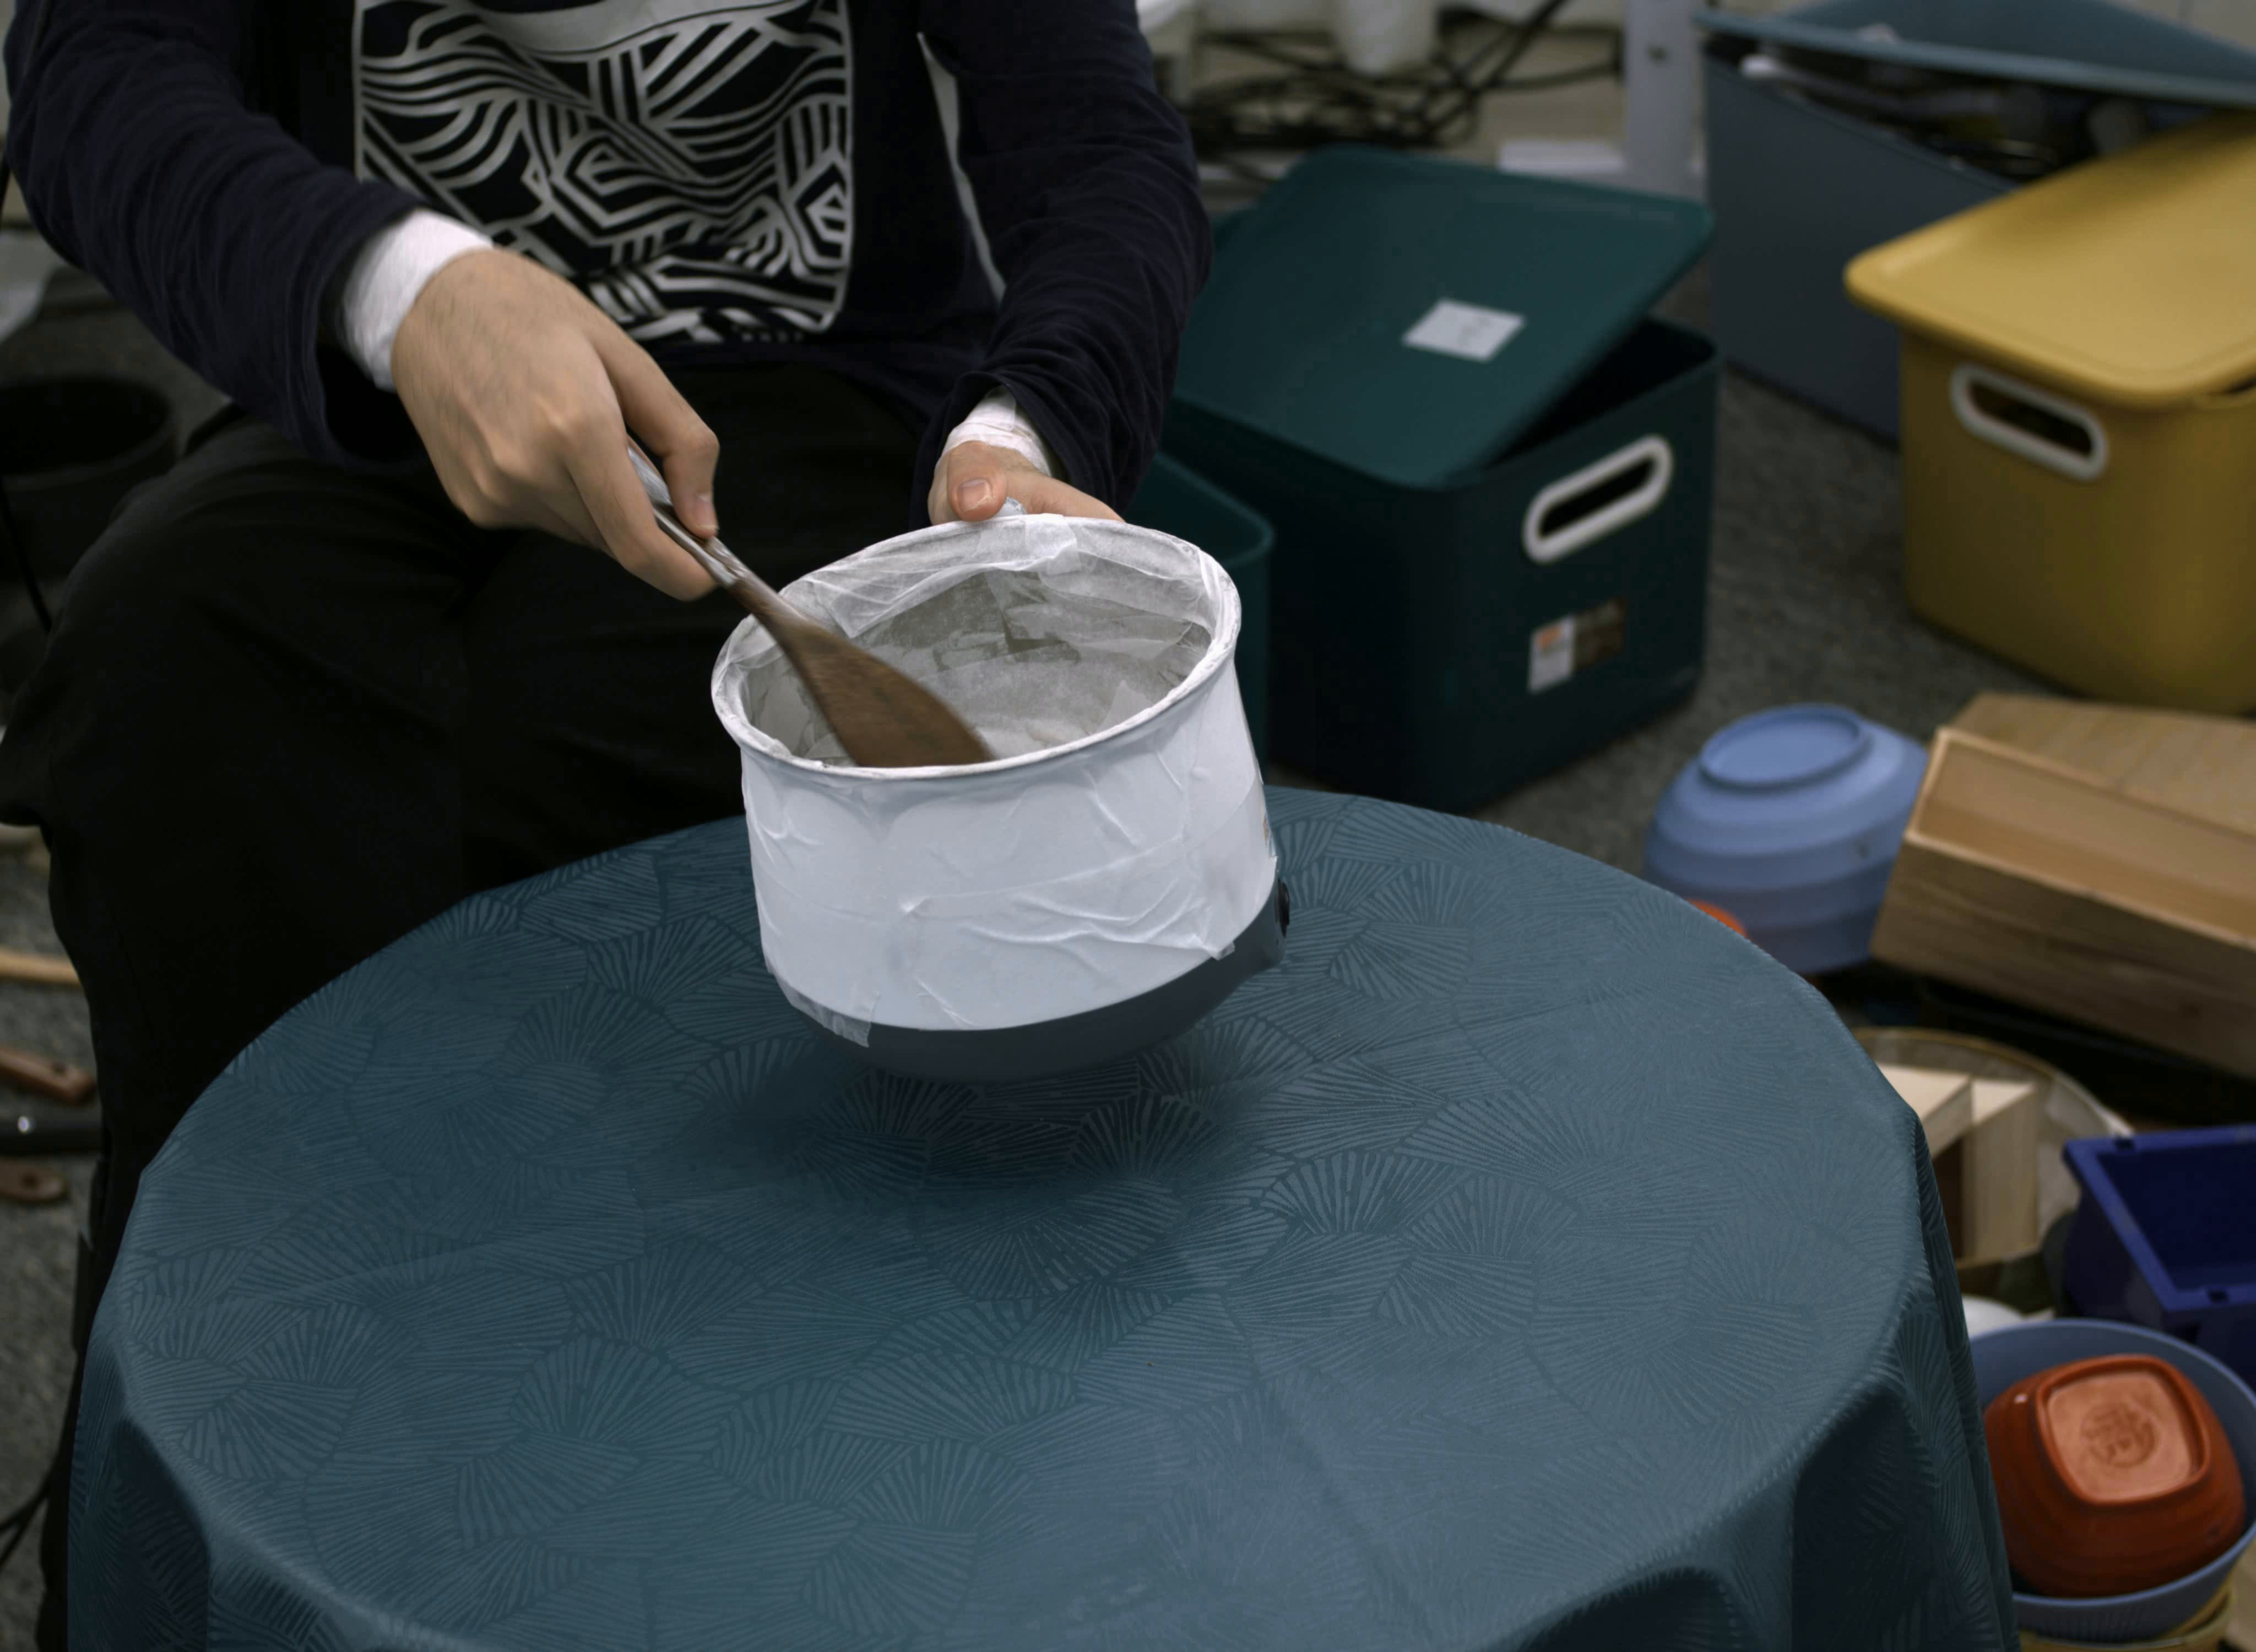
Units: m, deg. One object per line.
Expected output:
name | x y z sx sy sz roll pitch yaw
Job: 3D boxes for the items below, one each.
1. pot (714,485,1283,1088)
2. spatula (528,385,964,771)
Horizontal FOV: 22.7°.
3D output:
pot | -0.041 -0.021 1.903 0.178 0.135 0.237 -5 30 2
spatula | -0.122 -0.070 1.868 0.216 0.009 0.072 45 23 6
